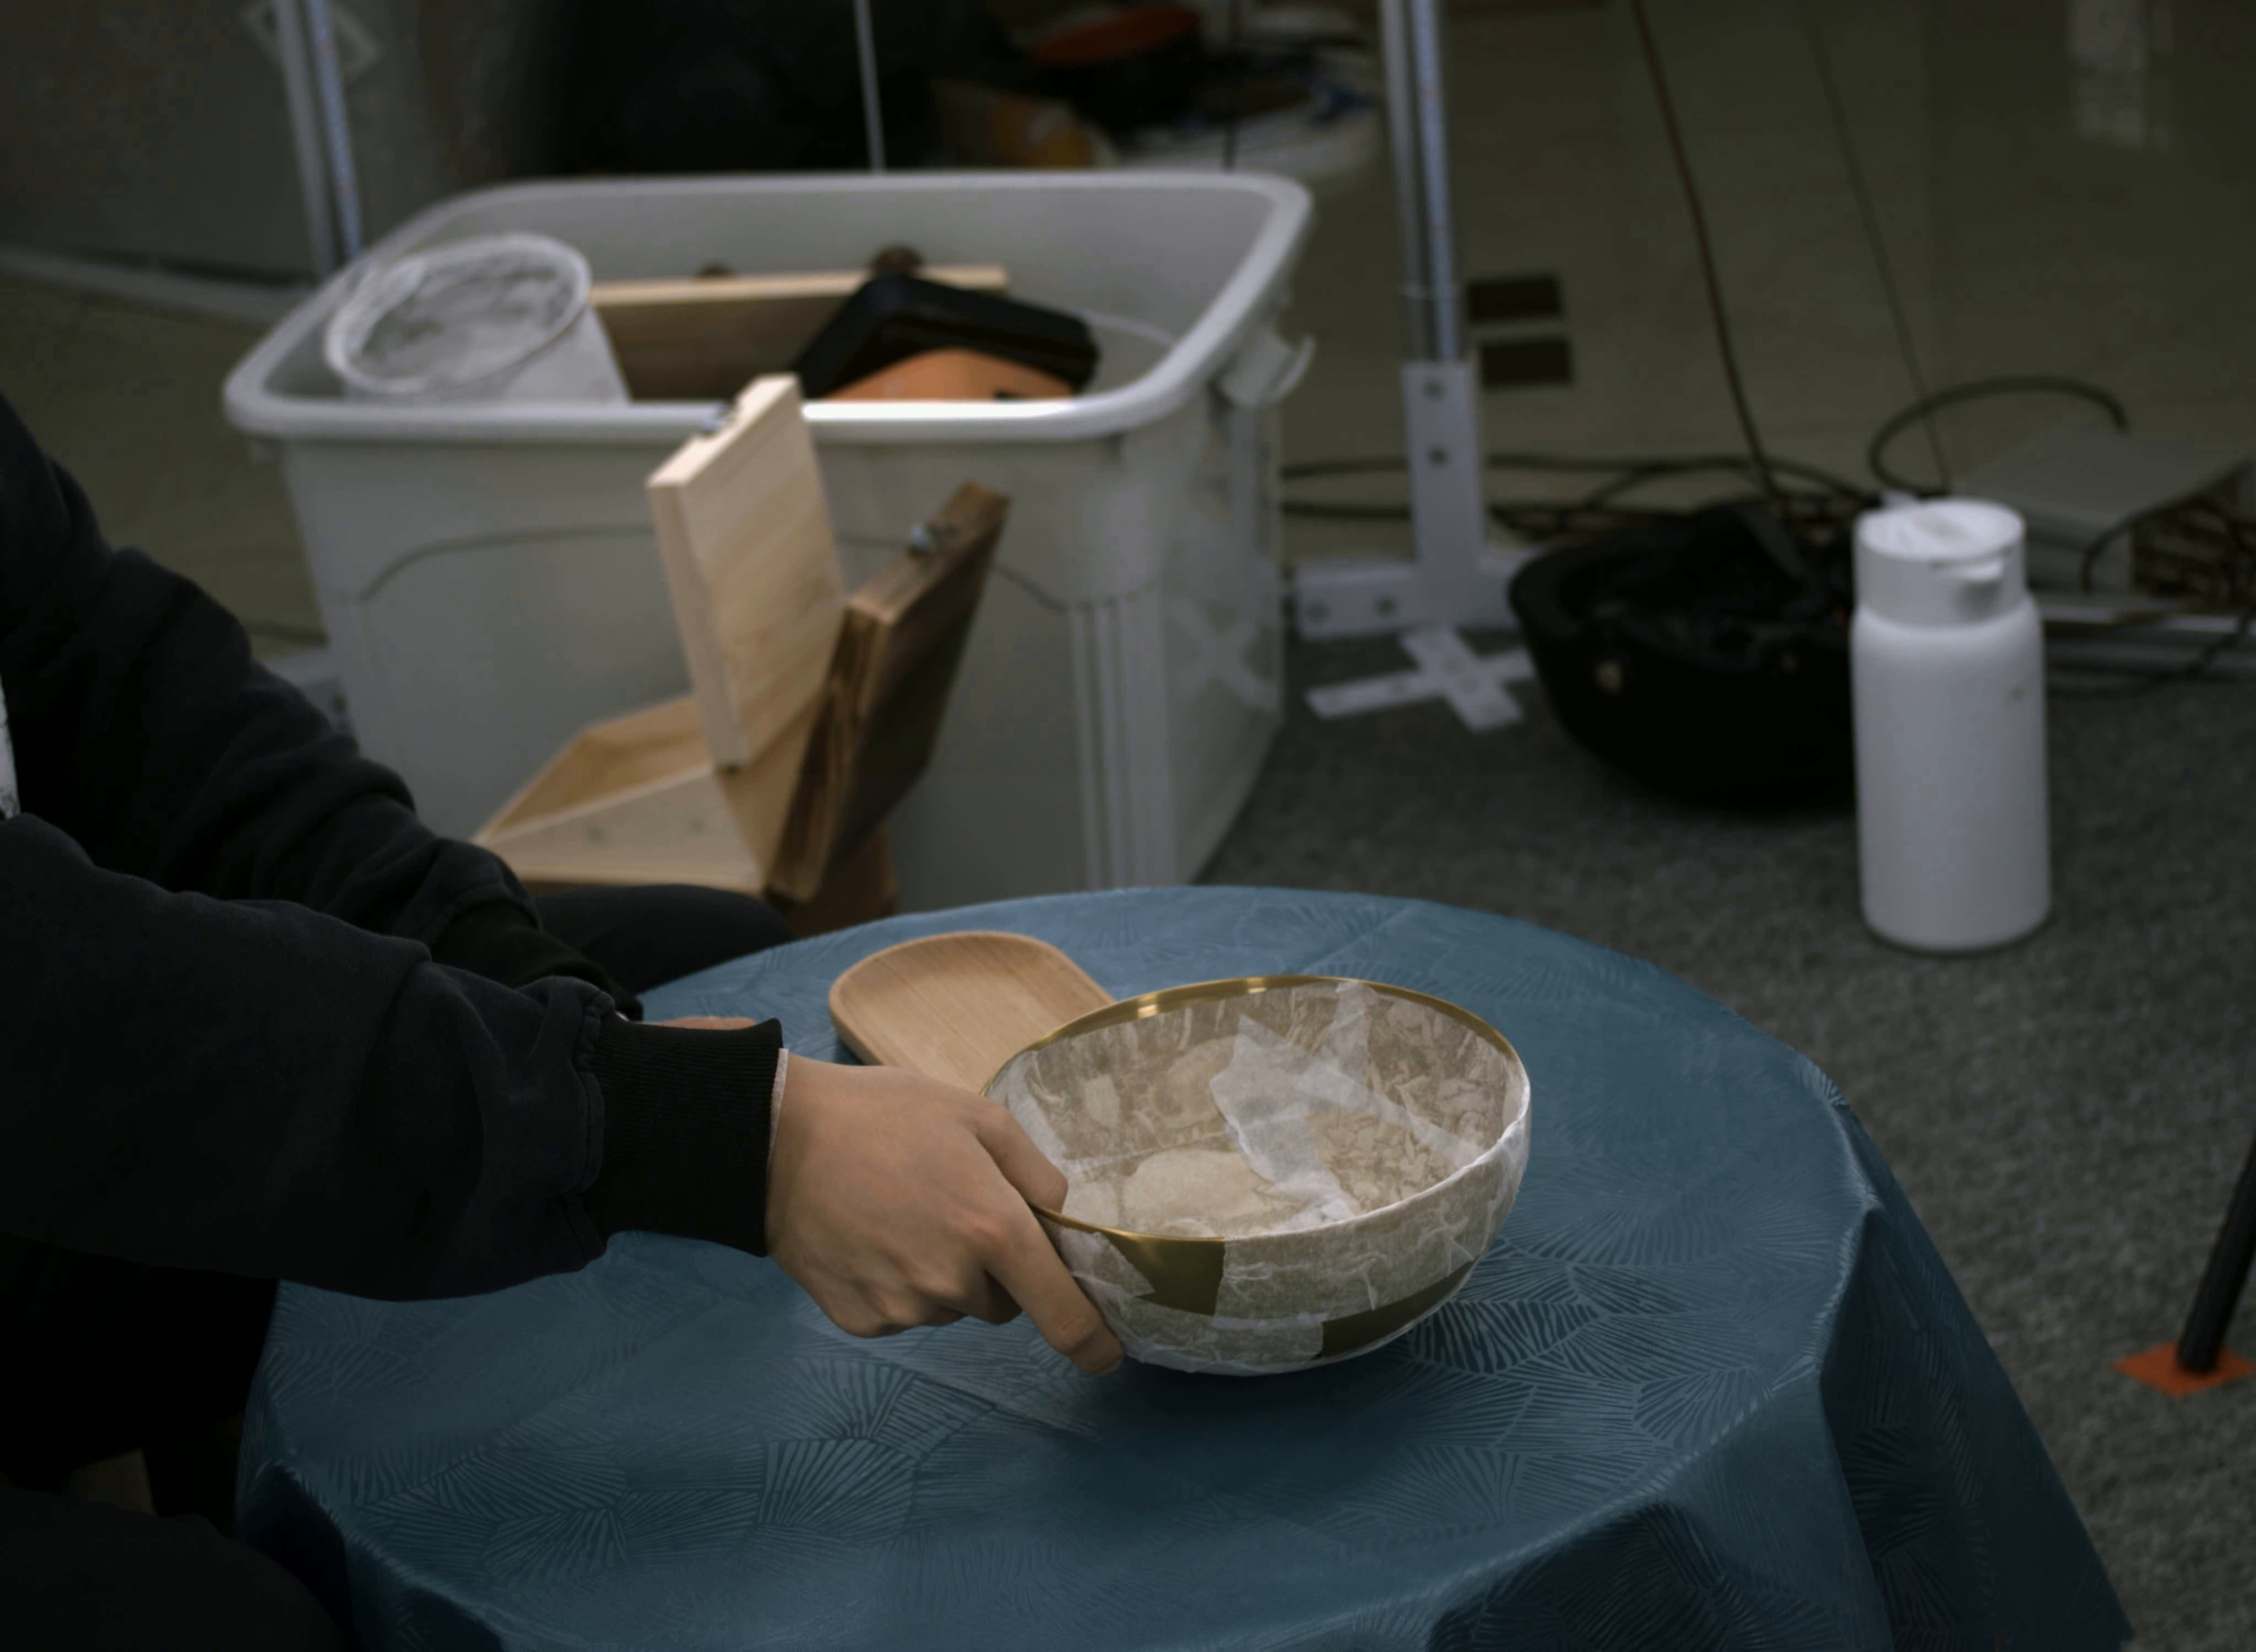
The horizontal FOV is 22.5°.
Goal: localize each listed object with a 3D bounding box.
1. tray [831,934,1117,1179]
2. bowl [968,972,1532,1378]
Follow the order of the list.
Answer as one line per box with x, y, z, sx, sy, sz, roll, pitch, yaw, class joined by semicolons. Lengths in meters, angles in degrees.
-0.041;0.095;2.239;0.101;0.020;0.228;-19;29;-20;tray
0.045;0.136;2.036;0.214;0.096;0.211;-6;26;3;bowl
